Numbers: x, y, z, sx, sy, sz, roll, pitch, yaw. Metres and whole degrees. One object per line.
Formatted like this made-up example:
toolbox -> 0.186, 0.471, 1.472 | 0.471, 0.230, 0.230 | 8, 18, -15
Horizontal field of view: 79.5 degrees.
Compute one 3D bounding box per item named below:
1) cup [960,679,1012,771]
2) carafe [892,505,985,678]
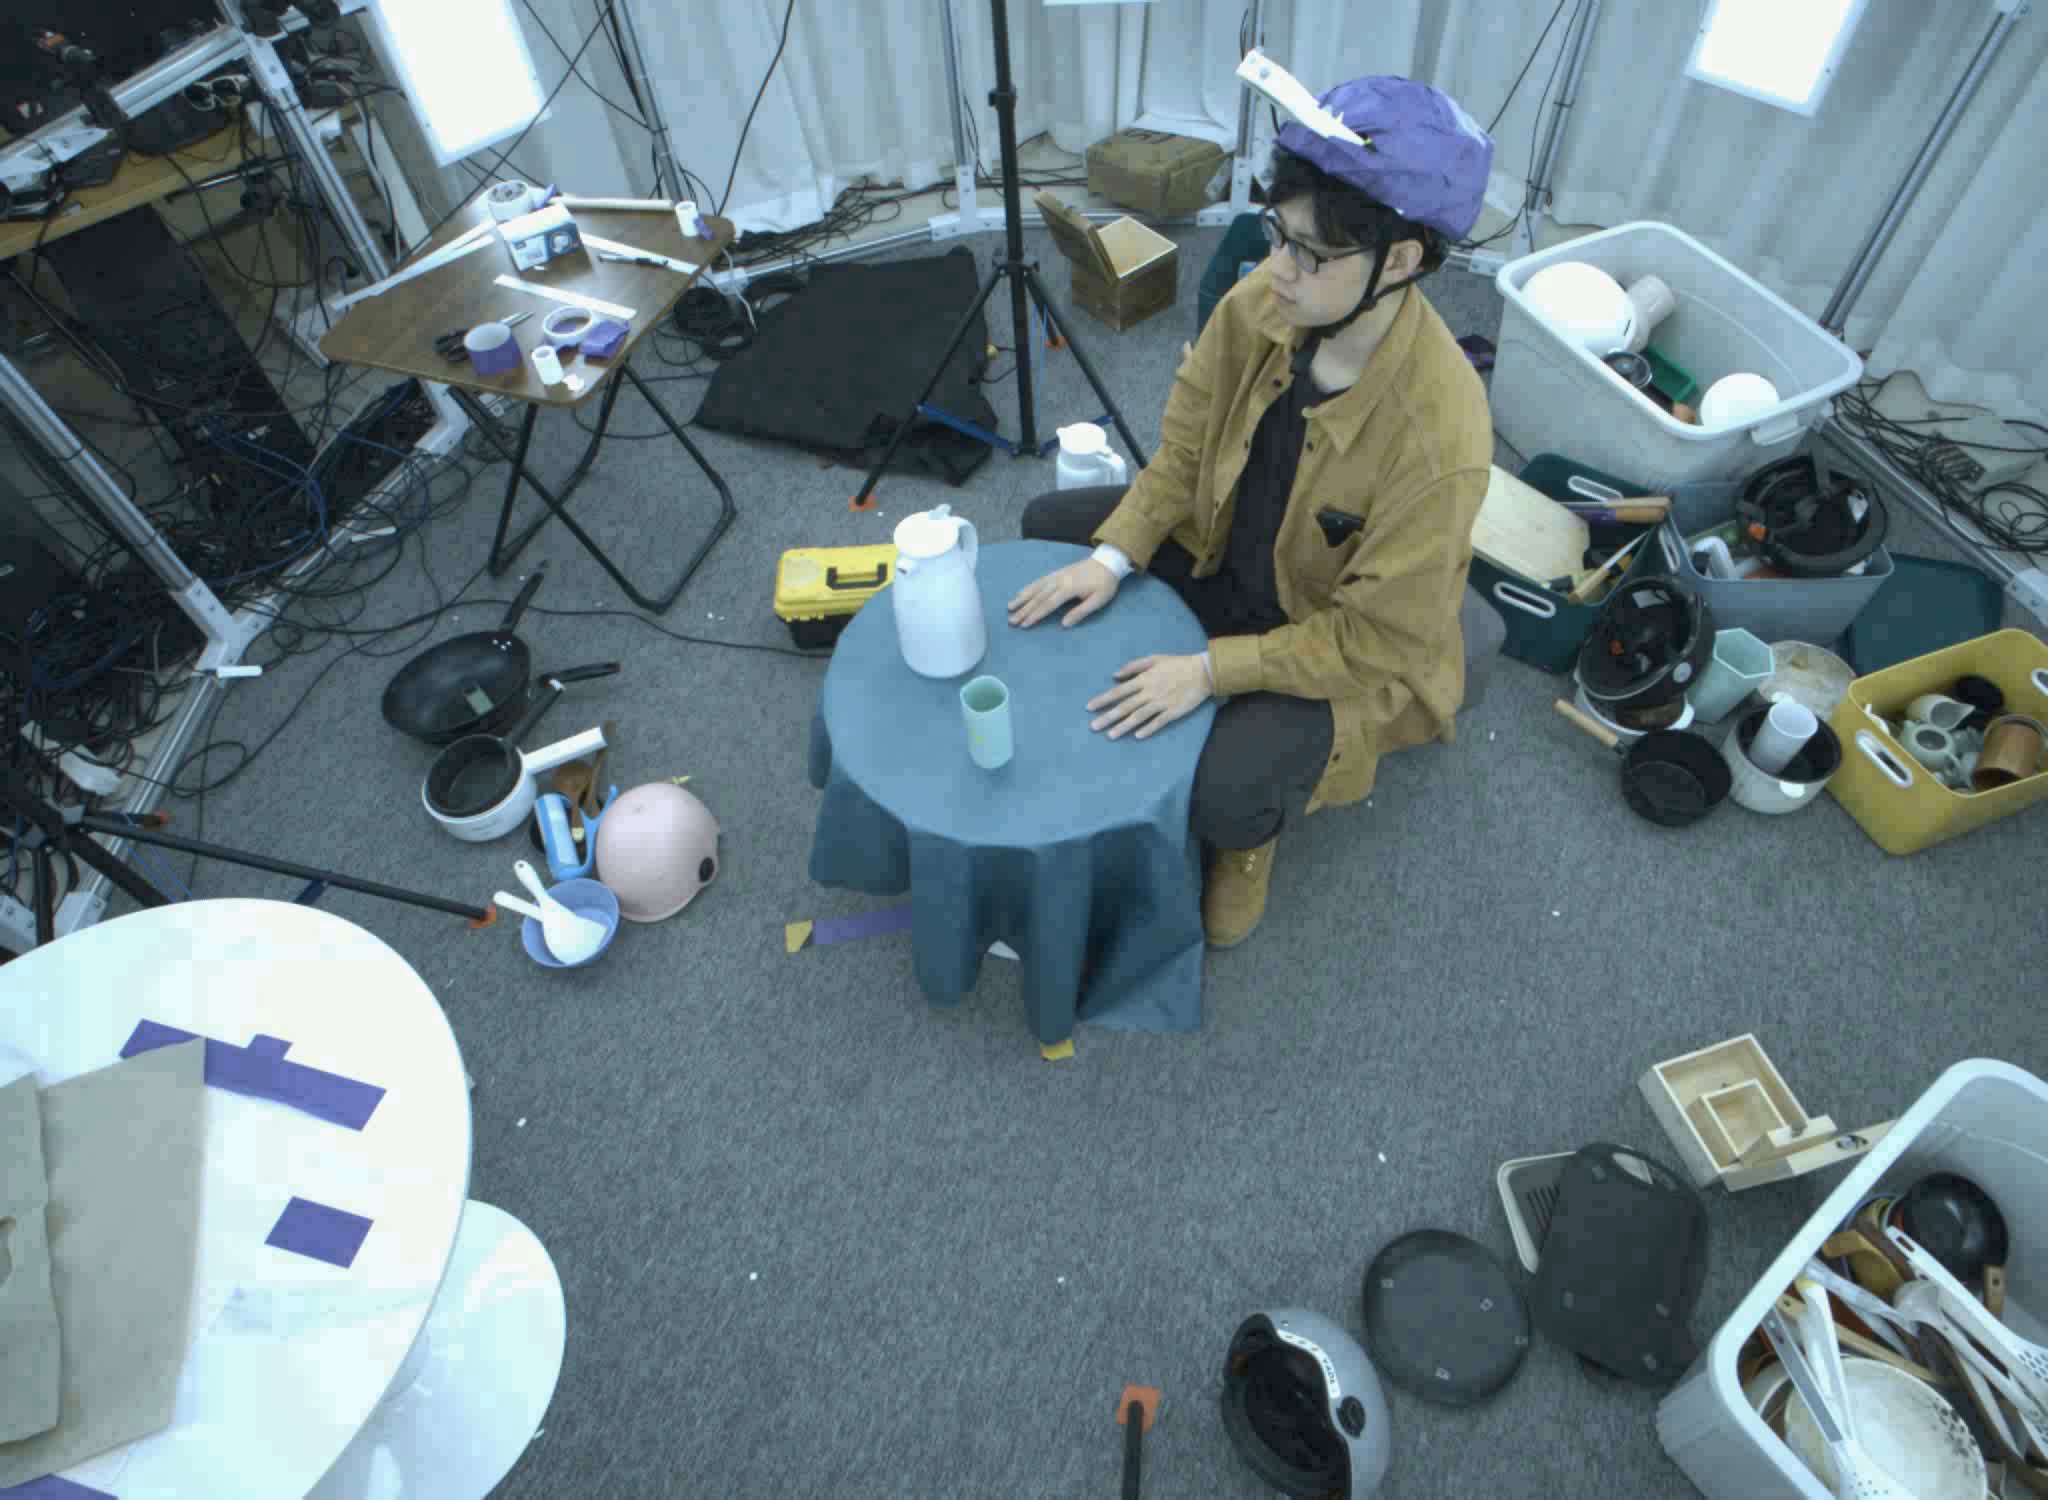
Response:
cup -> -0.051, -0.035, 1.733 | 0.066, 0.134, 0.066 | -1, 54, 3
carafe -> -0.124, -0.248, 1.811 | 0.130, 0.251, 0.168 | 23, 58, 19
